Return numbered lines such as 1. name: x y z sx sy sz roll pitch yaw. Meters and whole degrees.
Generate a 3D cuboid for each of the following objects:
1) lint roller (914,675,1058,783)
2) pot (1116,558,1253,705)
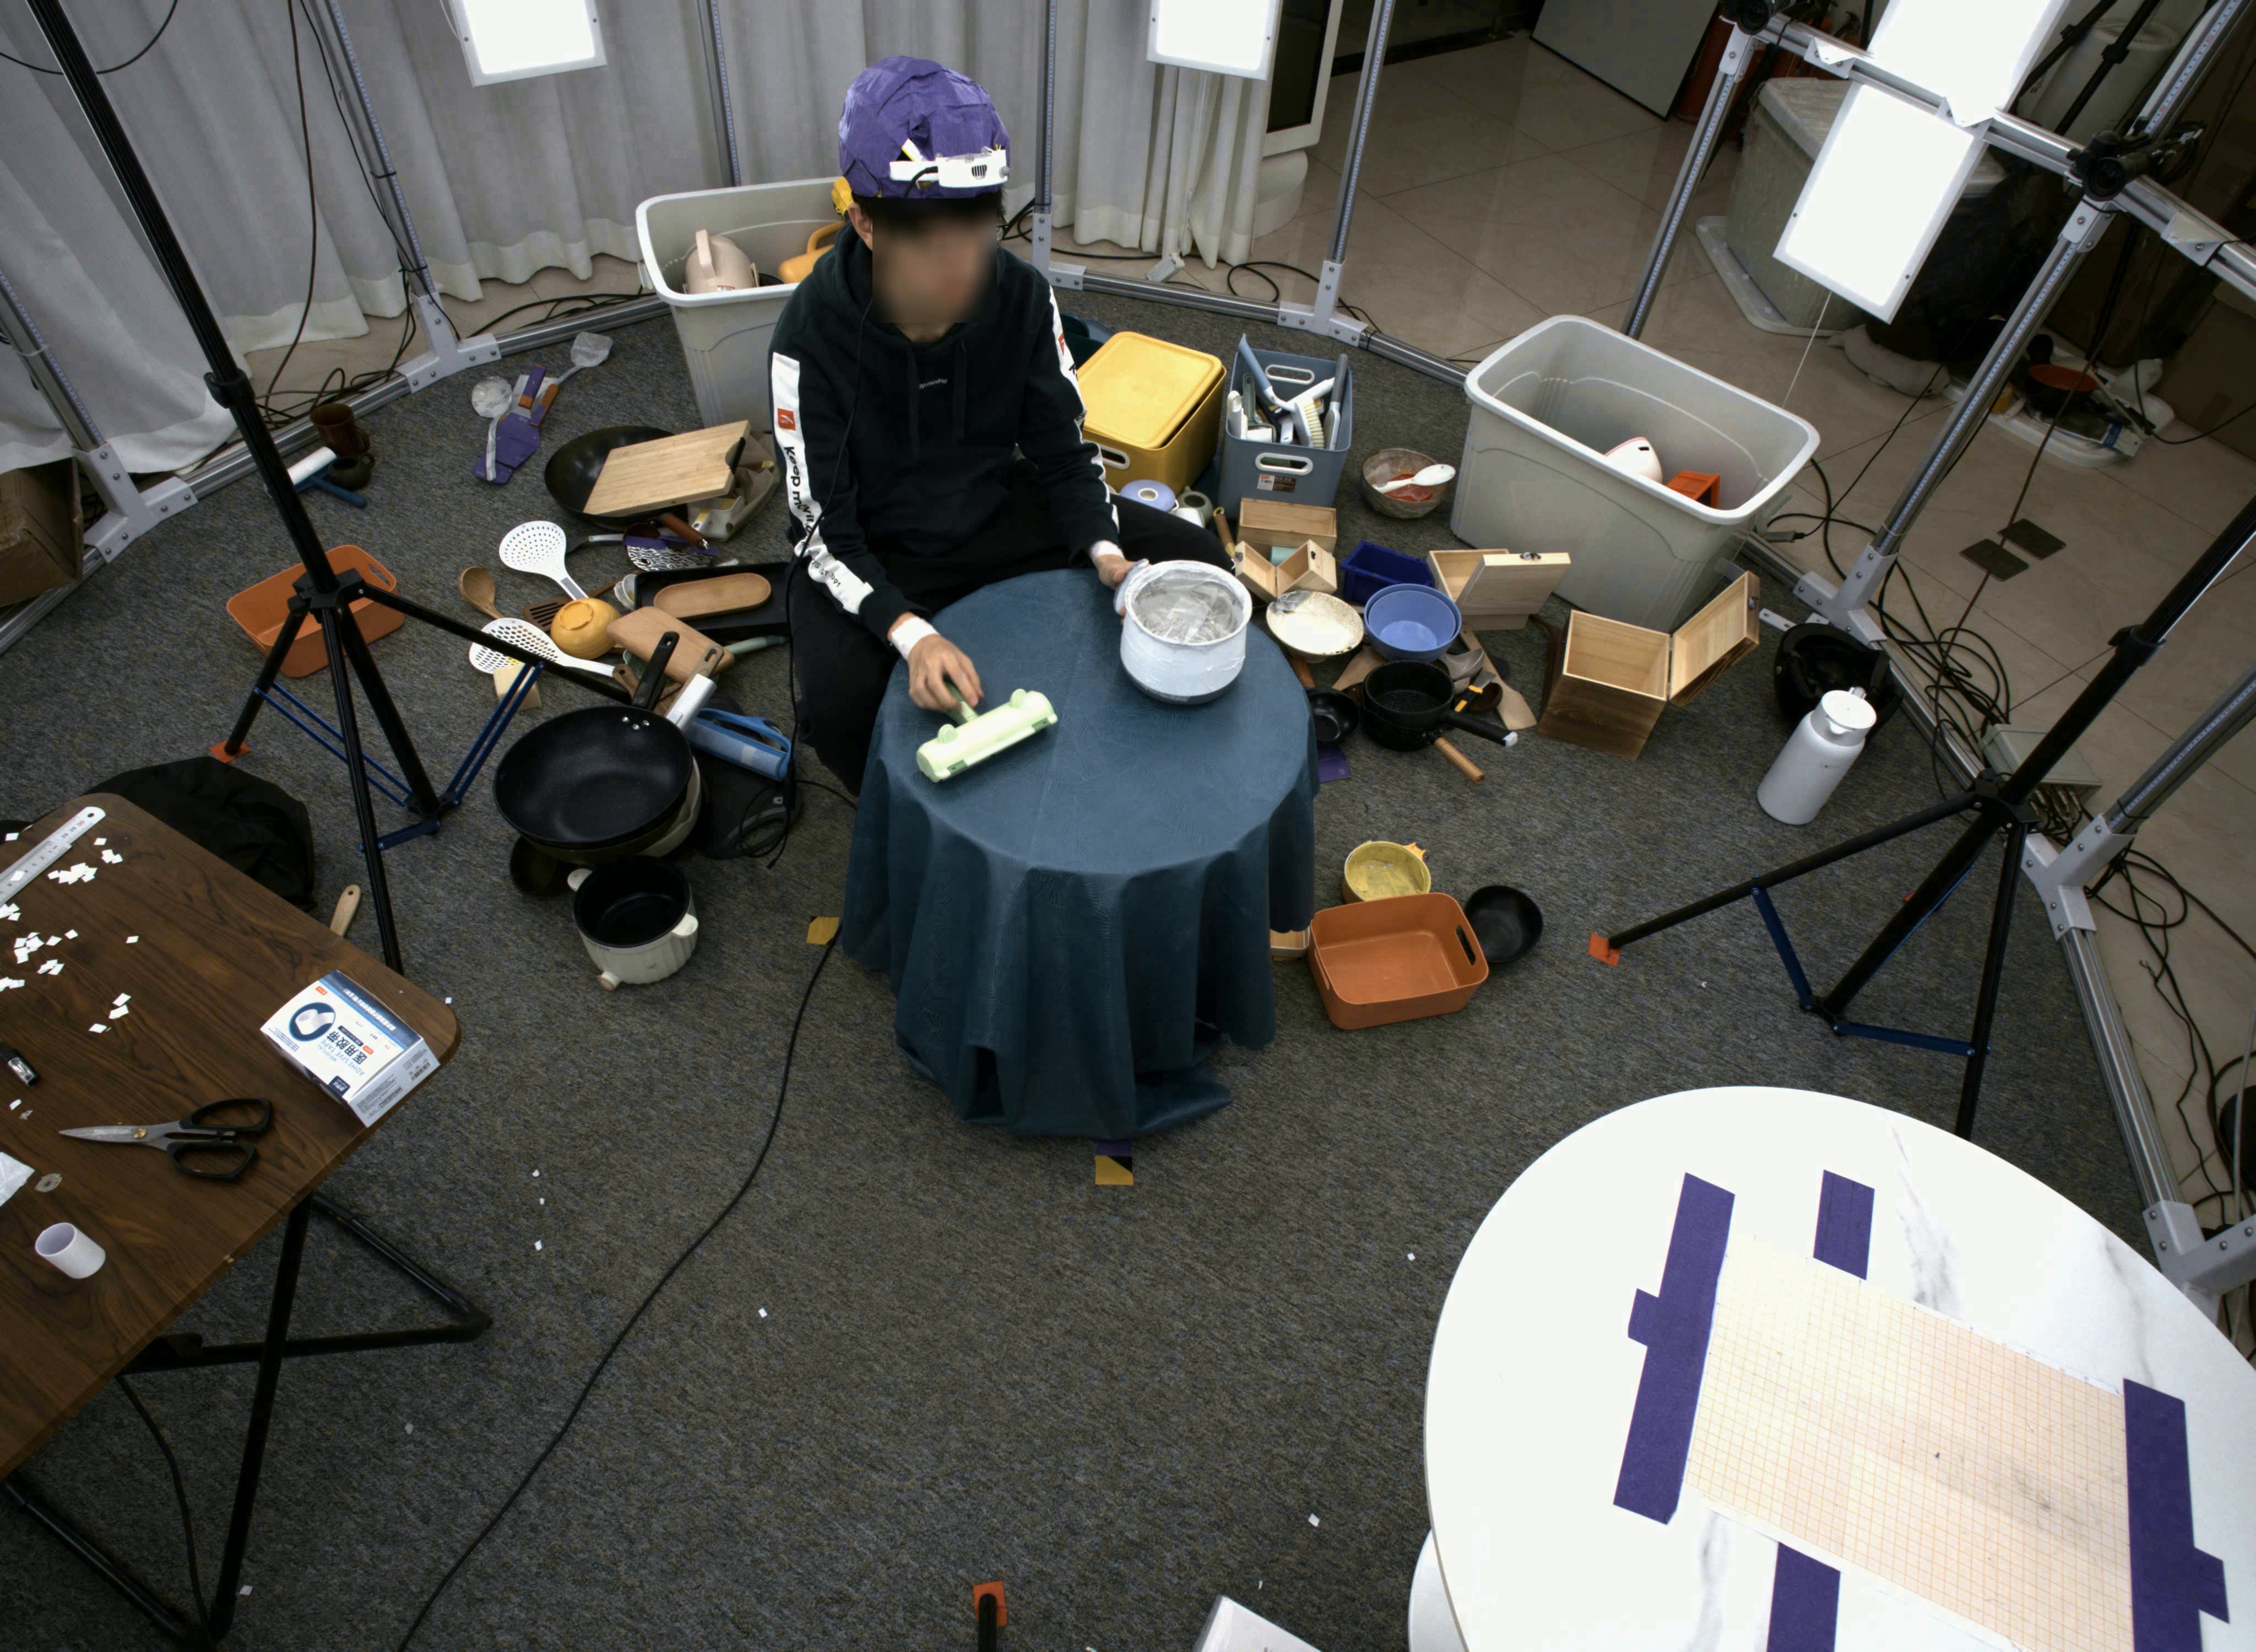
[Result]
1. lint roller: -0.224 -0.163 1.747 0.200 0.080 0.186 -29 62 -25
2. pot: 0.063 -0.287 1.833 0.180 0.133 0.238 -29 57 -26
